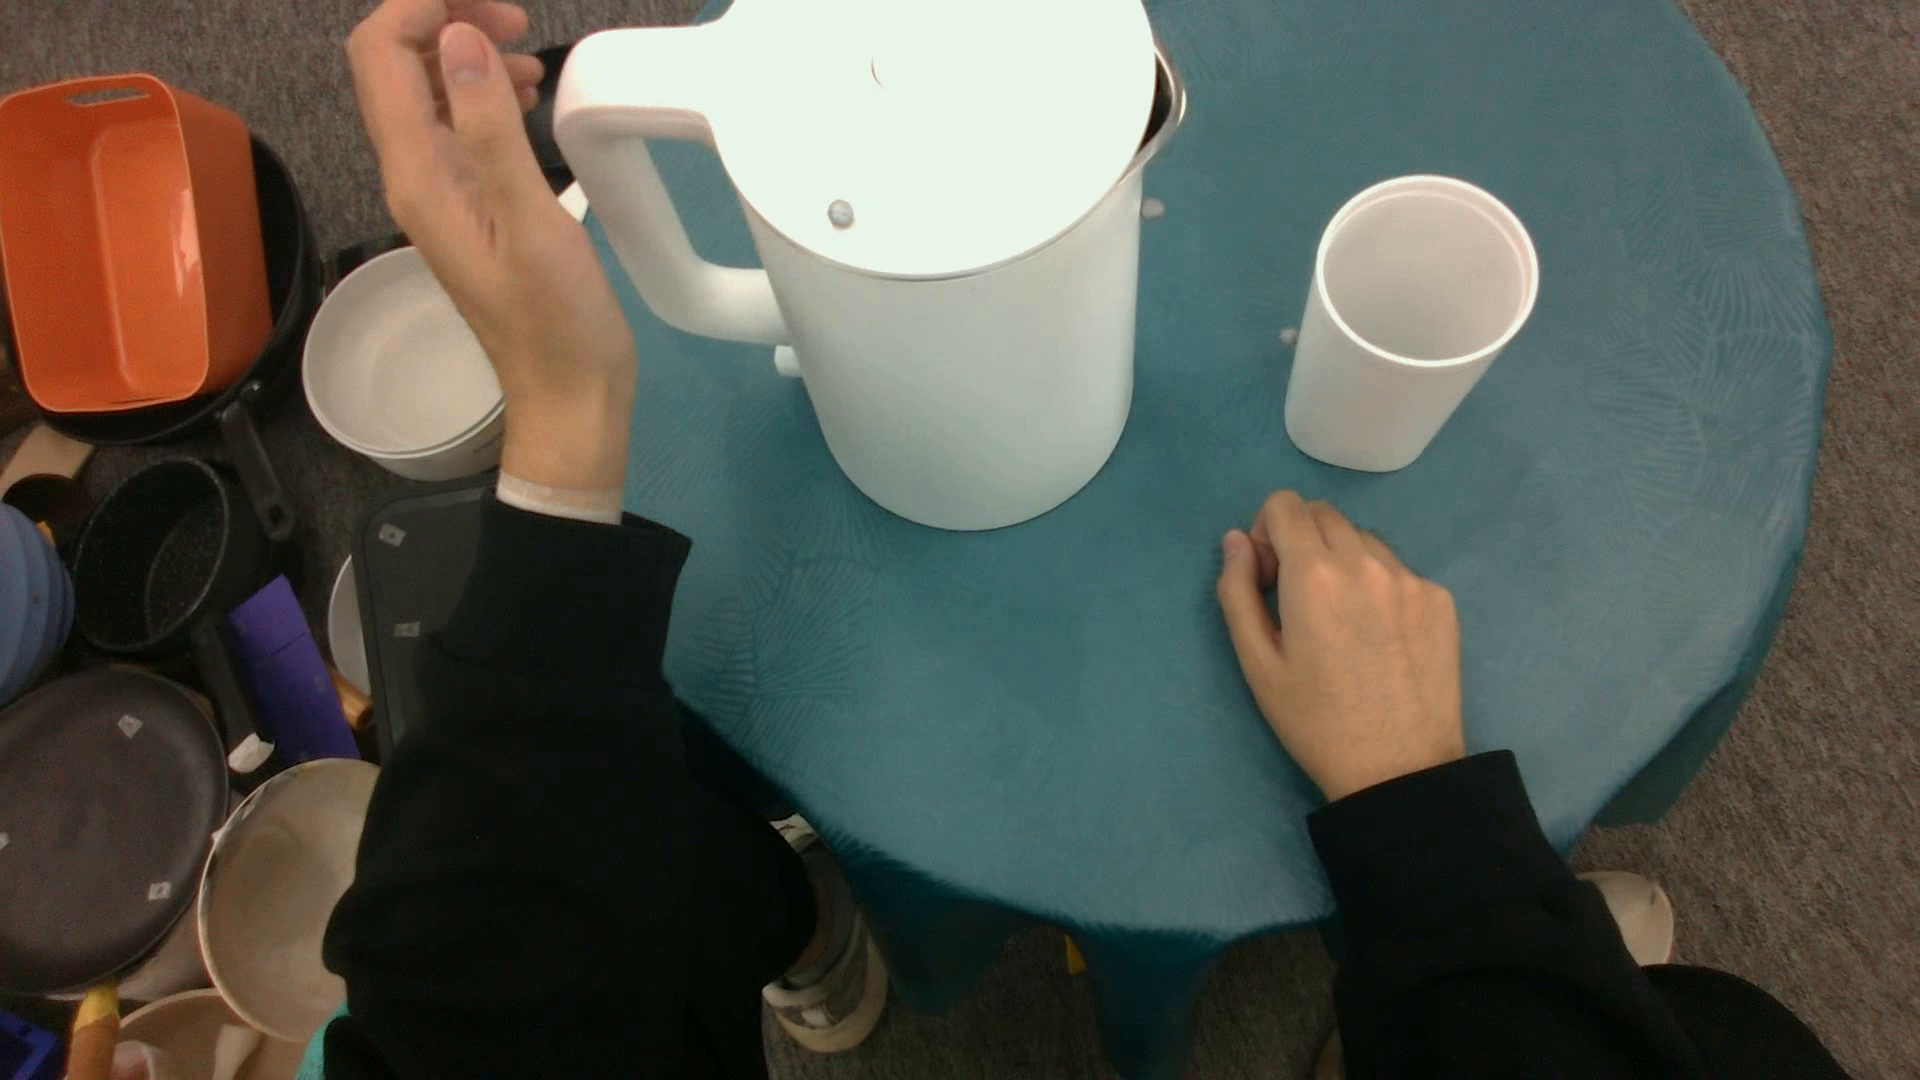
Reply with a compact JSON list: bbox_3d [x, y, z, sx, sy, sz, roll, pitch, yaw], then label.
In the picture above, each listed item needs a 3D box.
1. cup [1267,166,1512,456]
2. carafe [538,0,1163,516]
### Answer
[{"bbox_3d":[0.173,-0.090,0.585,0.081,0.125,0.082,-1,73,4],"label":"cup"},{"bbox_3d":[-0.034,-0.122,0.552,0.213,0.239,0.152,4,71,4],"label":"carafe"}]
